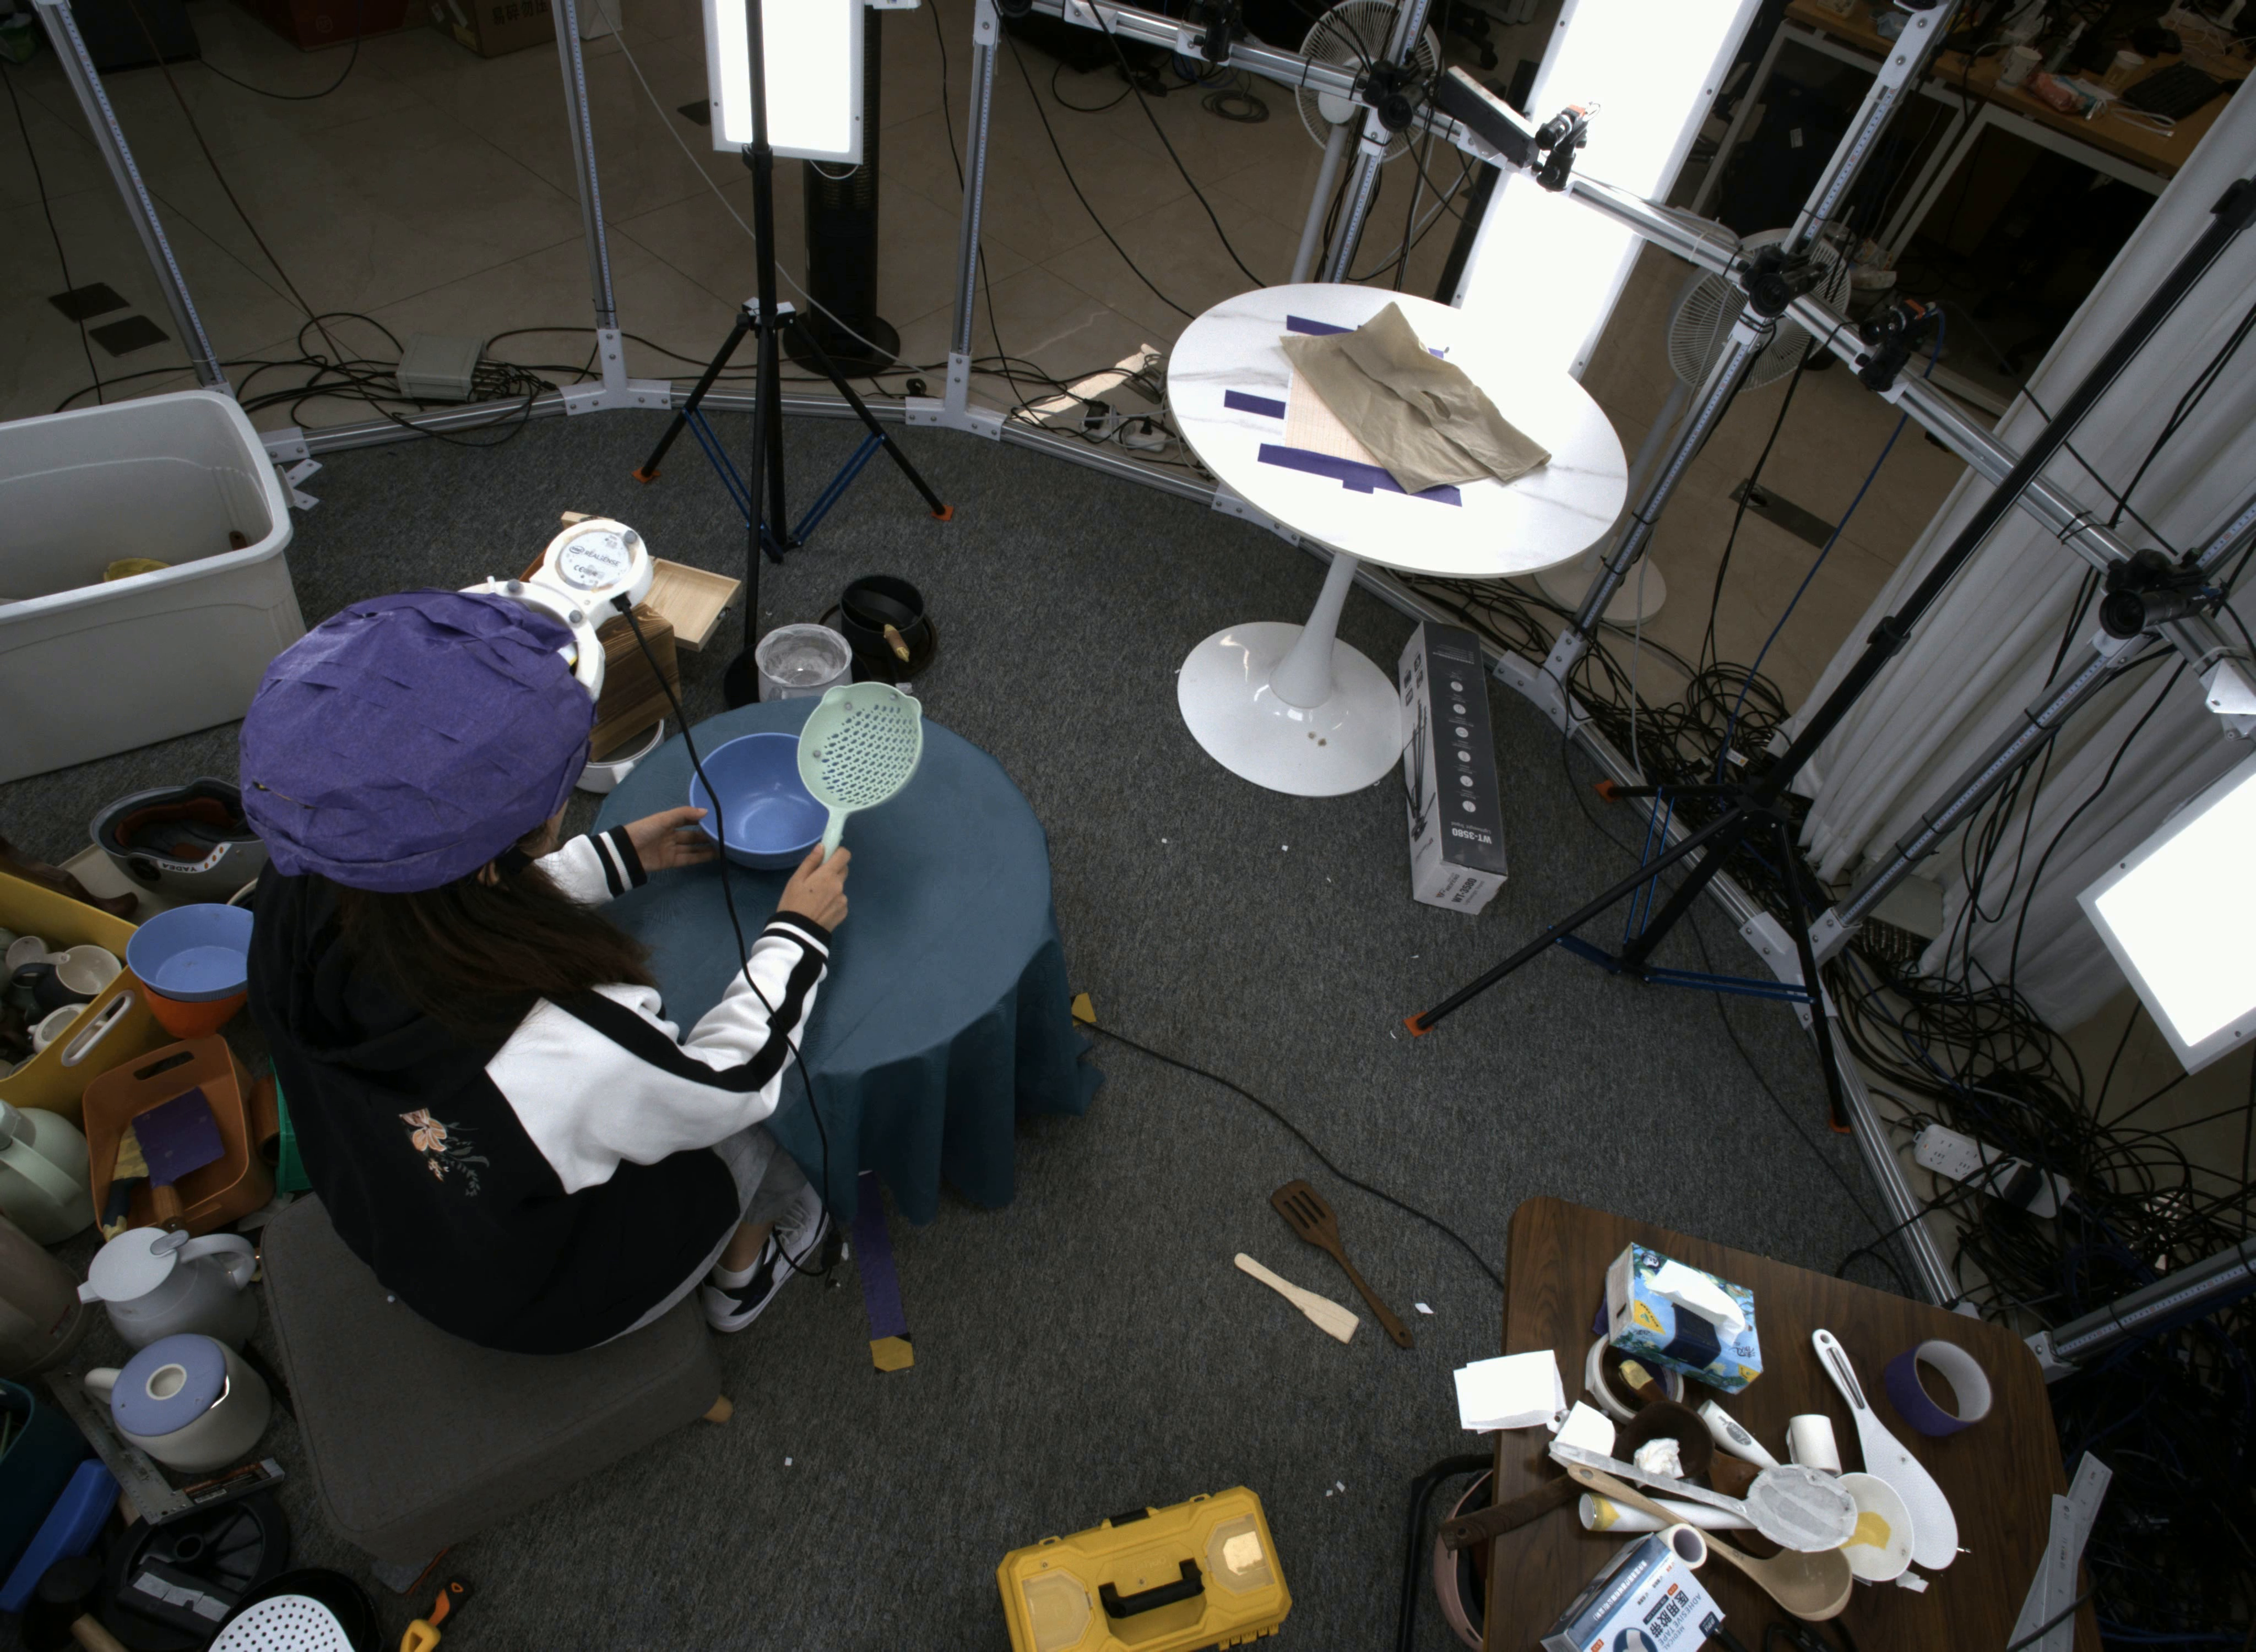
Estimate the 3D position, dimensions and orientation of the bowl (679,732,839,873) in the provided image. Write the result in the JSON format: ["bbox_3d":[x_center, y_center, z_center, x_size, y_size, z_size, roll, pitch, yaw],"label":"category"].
[{"bbox_3d":[-0.469,-0.016,1.658,0.196,0.097,0.193,8,52,-9],"label":"bowl"}]

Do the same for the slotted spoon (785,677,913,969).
[{"bbox_3d":[-0.366,-0.007,1.593,0.165,0.077,0.358,11,70,16],"label":"slotted spoon"}]
